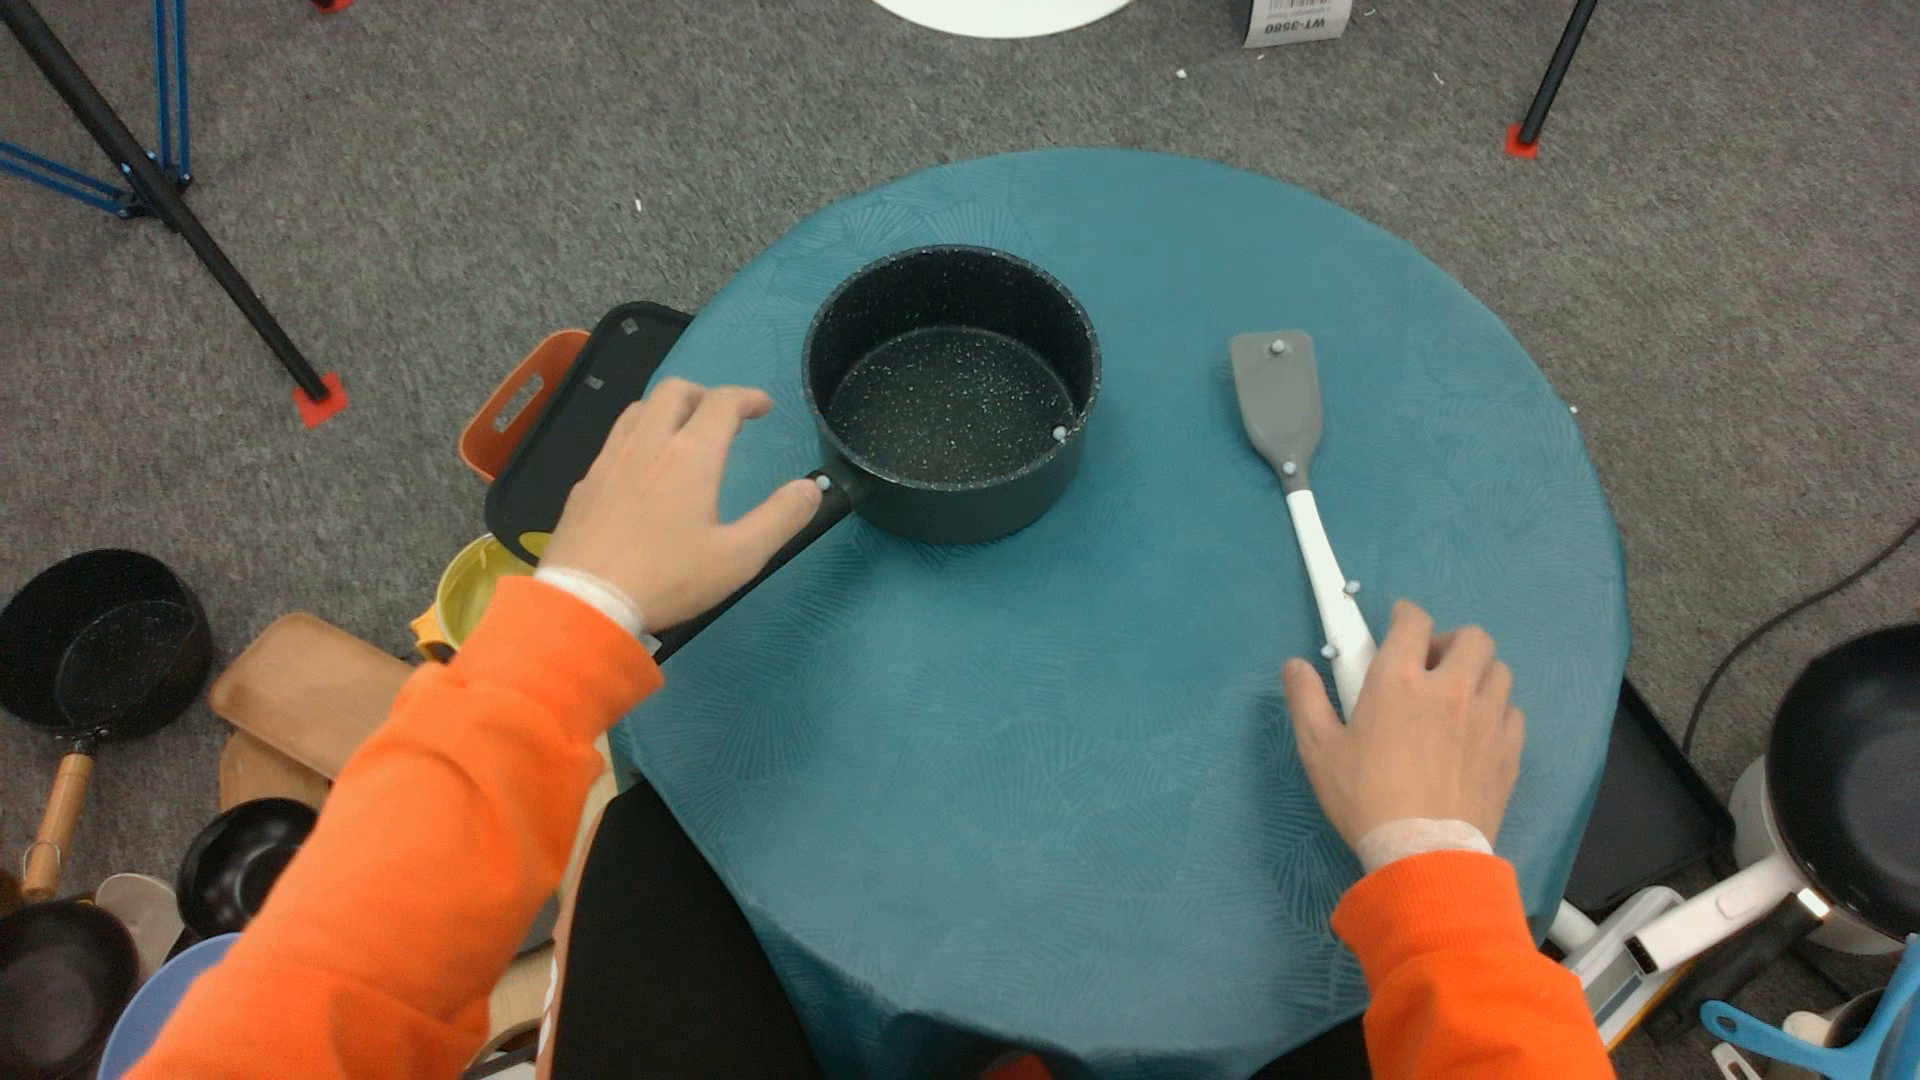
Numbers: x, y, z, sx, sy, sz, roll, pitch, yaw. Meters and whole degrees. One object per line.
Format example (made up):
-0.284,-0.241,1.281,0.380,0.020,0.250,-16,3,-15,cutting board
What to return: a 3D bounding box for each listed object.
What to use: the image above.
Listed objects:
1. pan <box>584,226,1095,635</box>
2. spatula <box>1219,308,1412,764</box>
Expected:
-0.065,-0.045,0.778,0.172,0.086,0.330,40,67,20,pan
0.204,-0.013,0.794,0.058,0.032,0.288,-8,62,0,spatula
